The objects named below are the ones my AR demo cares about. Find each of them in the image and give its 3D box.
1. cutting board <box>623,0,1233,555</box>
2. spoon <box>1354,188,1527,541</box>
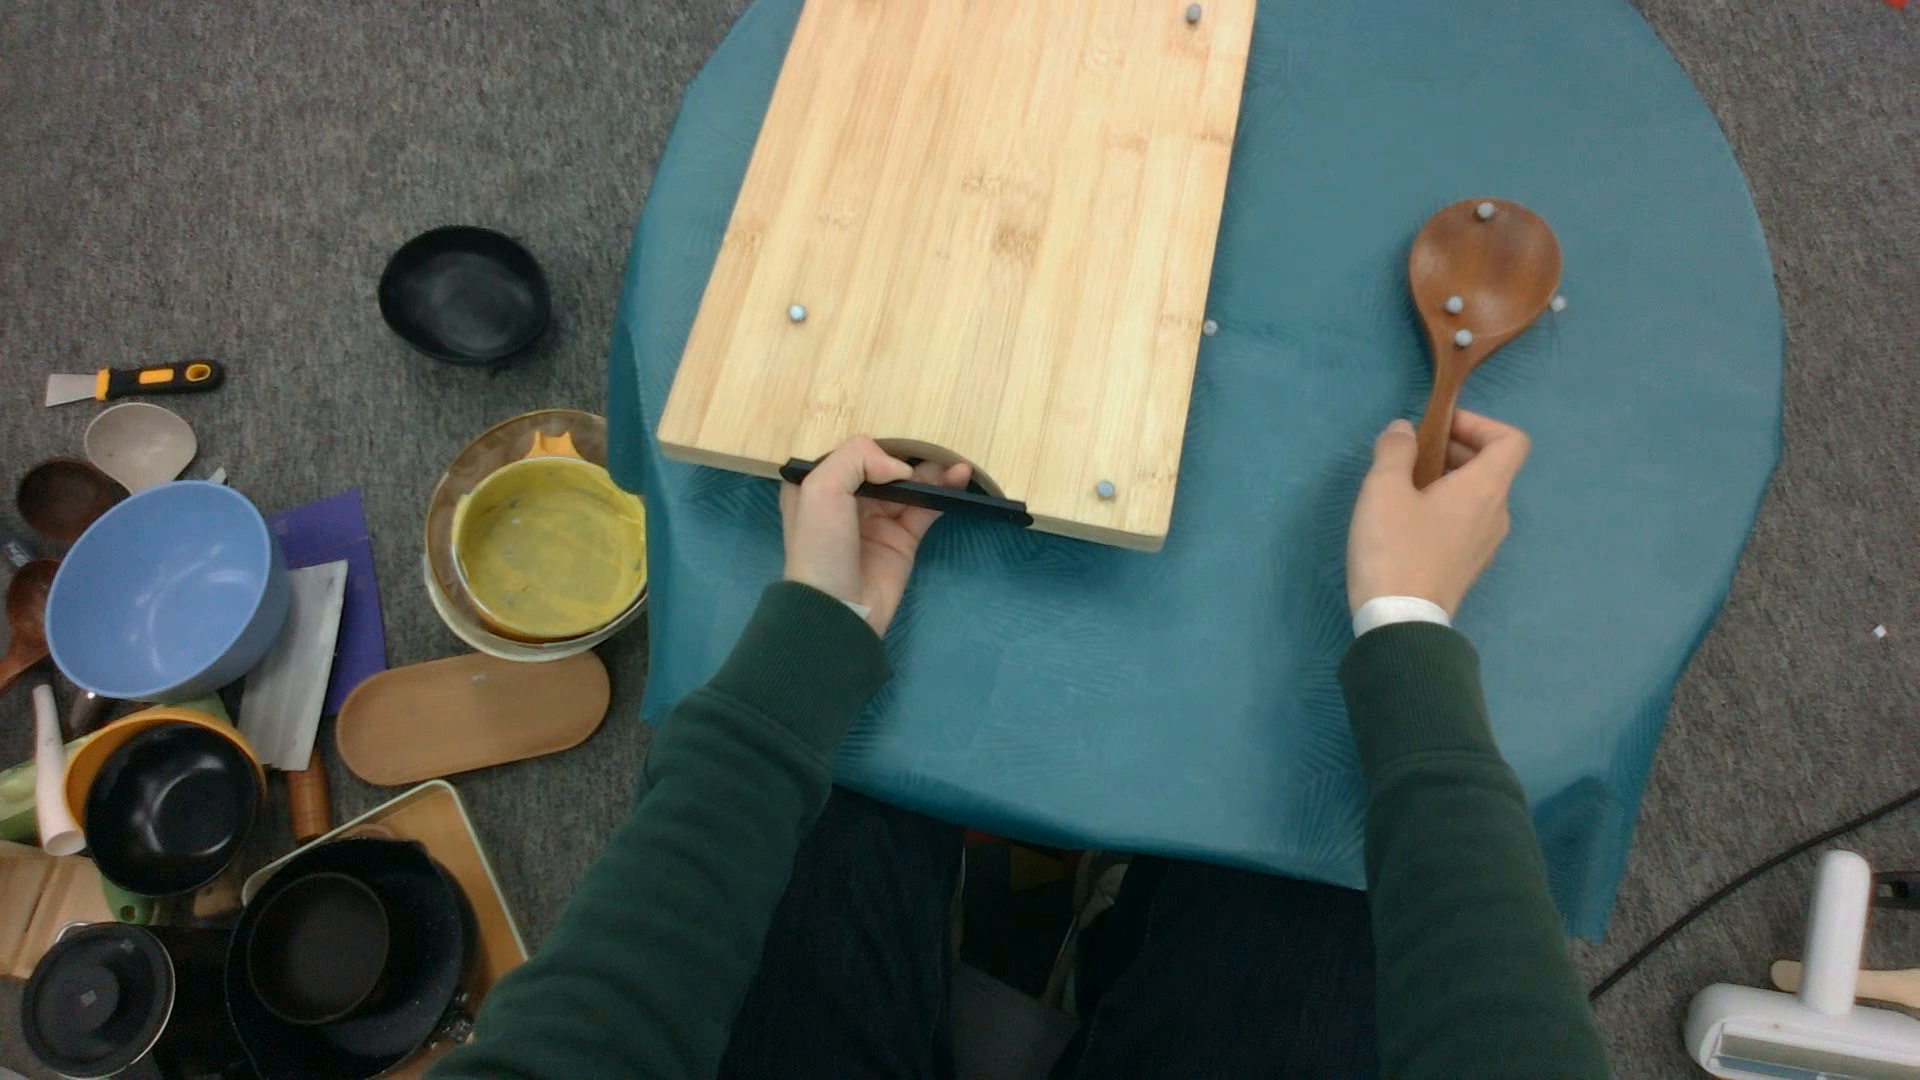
[{"bbox_3d":[-0.002,-0.170,0.702,0.250,0.023,0.350,10,65,3],"label":"cutting board"},{"bbox_3d":[0.230,-0.091,0.683,0.075,0.017,0.217,18,64,10],"label":"spoon"}]
